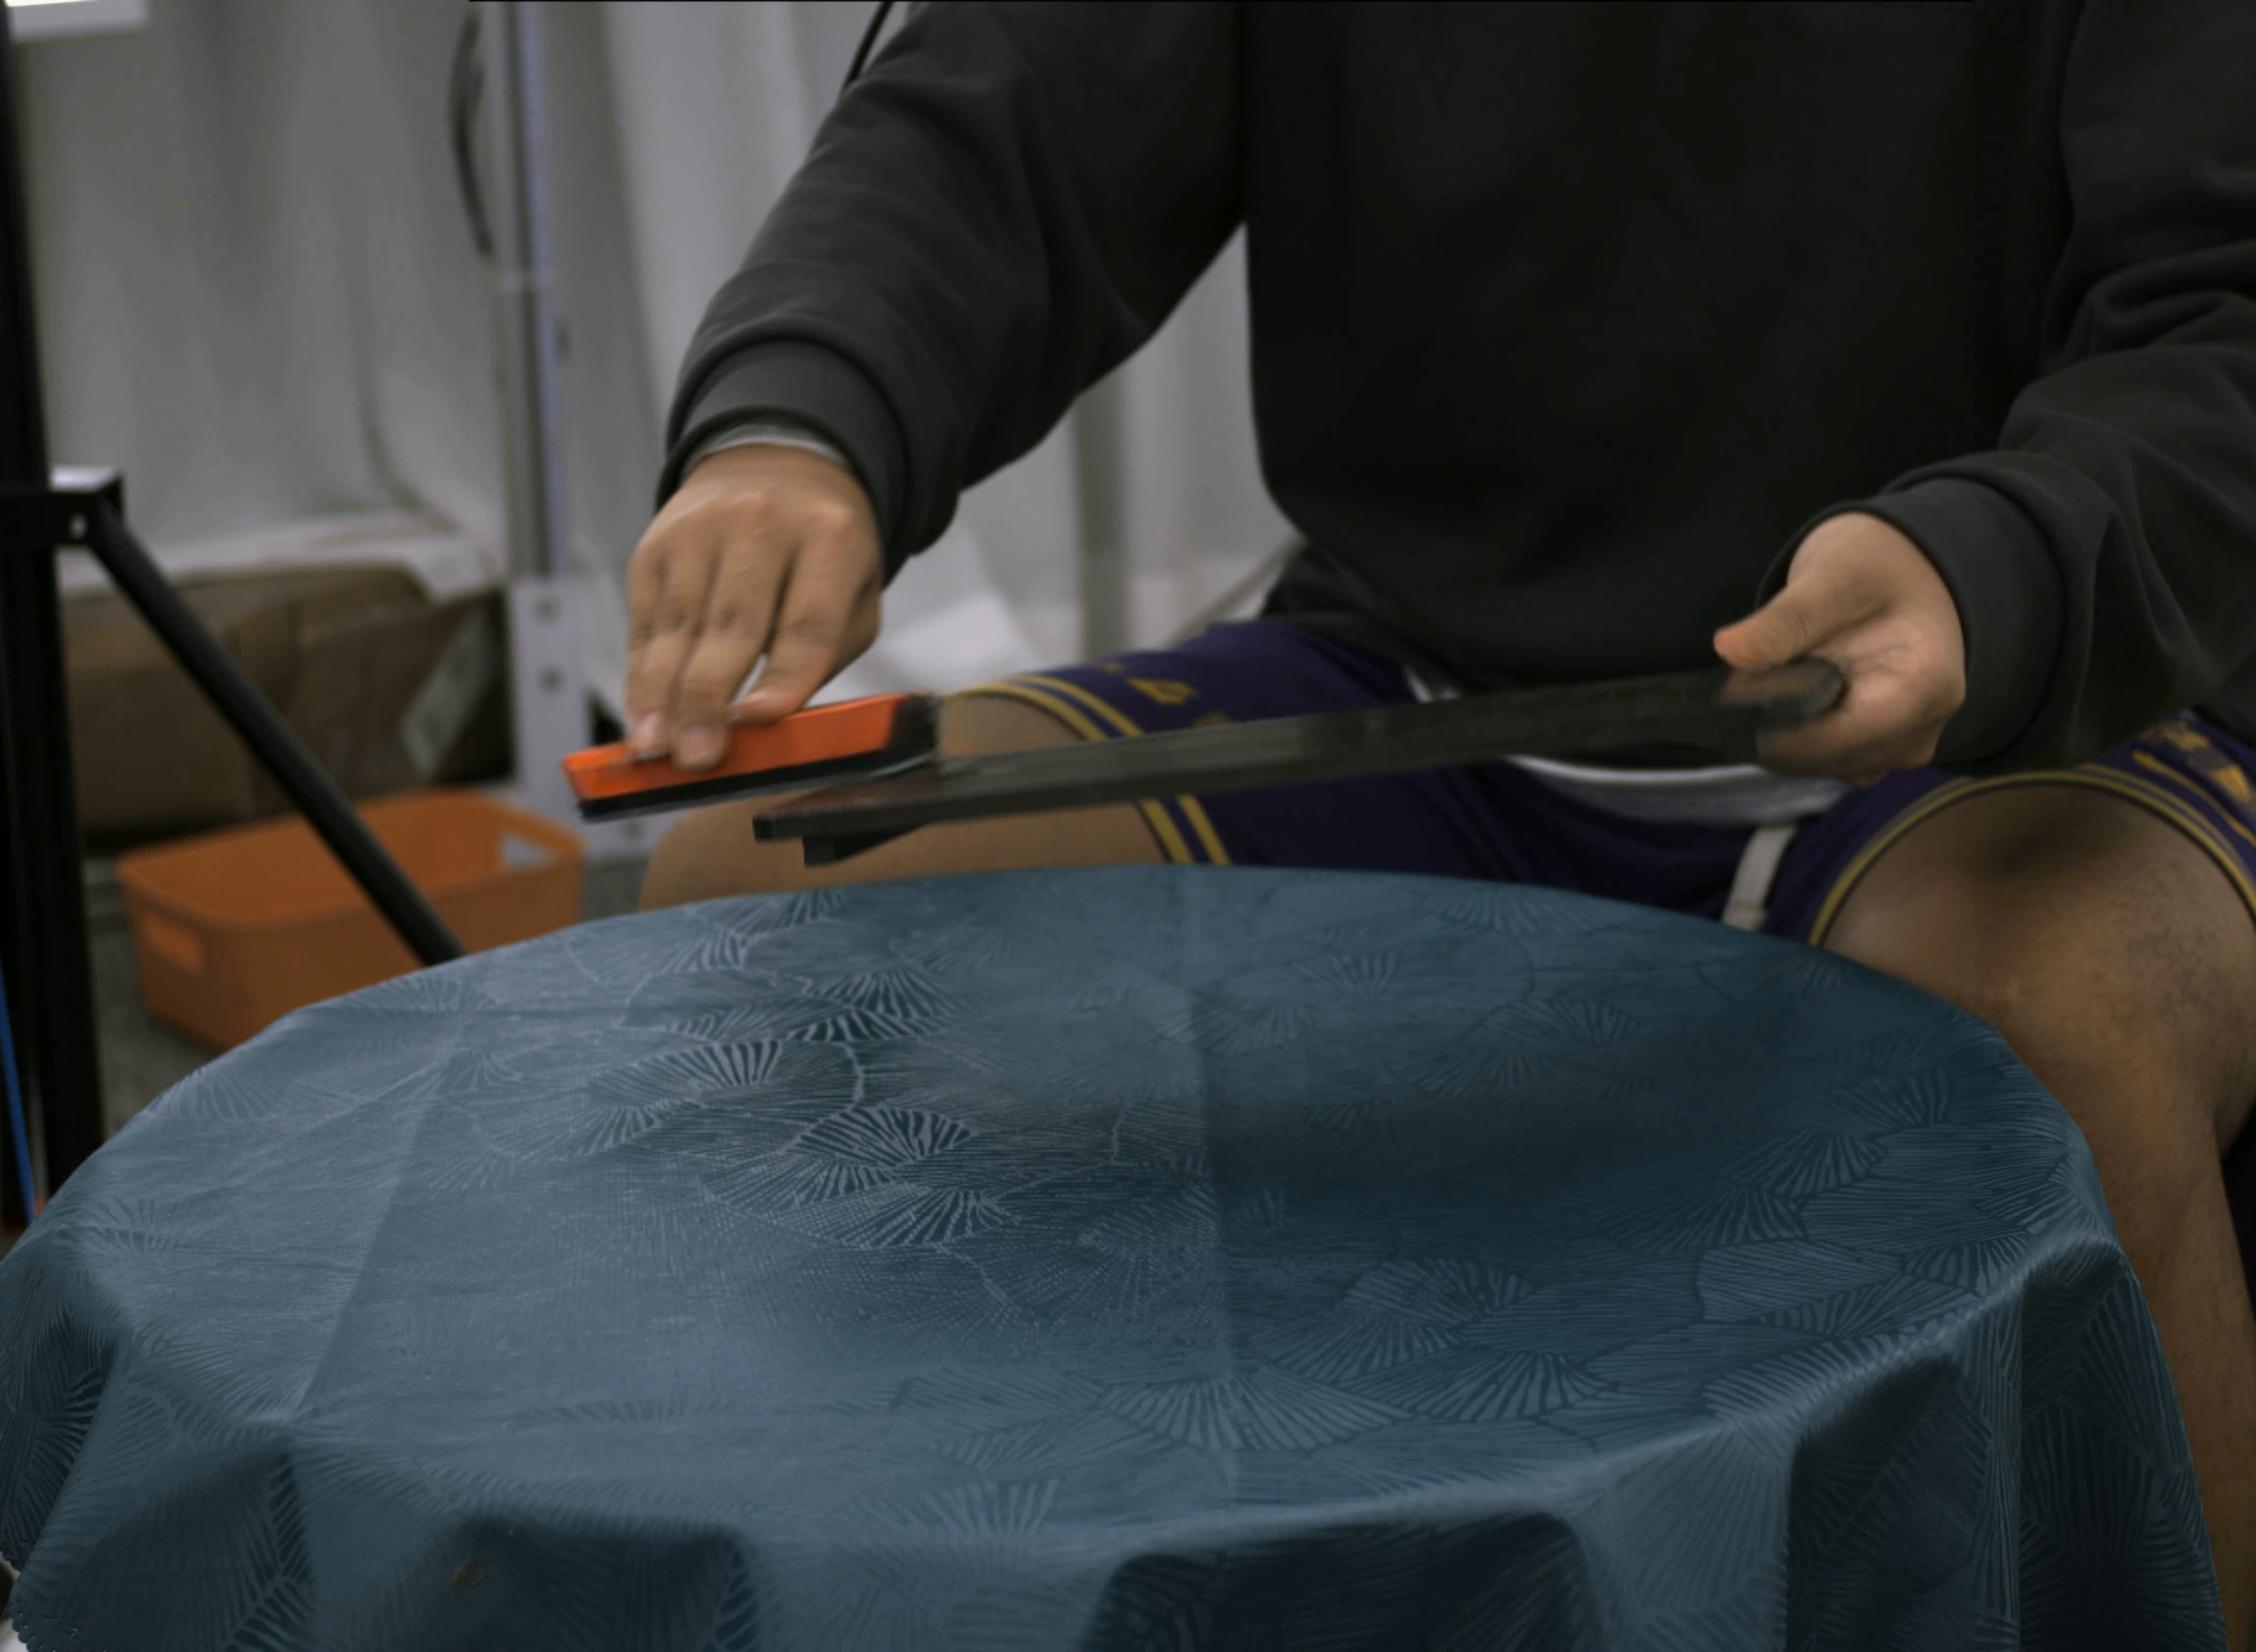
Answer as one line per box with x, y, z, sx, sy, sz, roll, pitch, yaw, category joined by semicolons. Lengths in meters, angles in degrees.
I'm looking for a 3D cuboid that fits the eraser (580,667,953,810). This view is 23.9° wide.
-0.112;-0.027;1.656;0.109;0.023;0.058;-11;3;18;eraser

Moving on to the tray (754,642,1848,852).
0.055;-0.022;1.561;0.308;0.019;0.168;-7;4;14;tray
